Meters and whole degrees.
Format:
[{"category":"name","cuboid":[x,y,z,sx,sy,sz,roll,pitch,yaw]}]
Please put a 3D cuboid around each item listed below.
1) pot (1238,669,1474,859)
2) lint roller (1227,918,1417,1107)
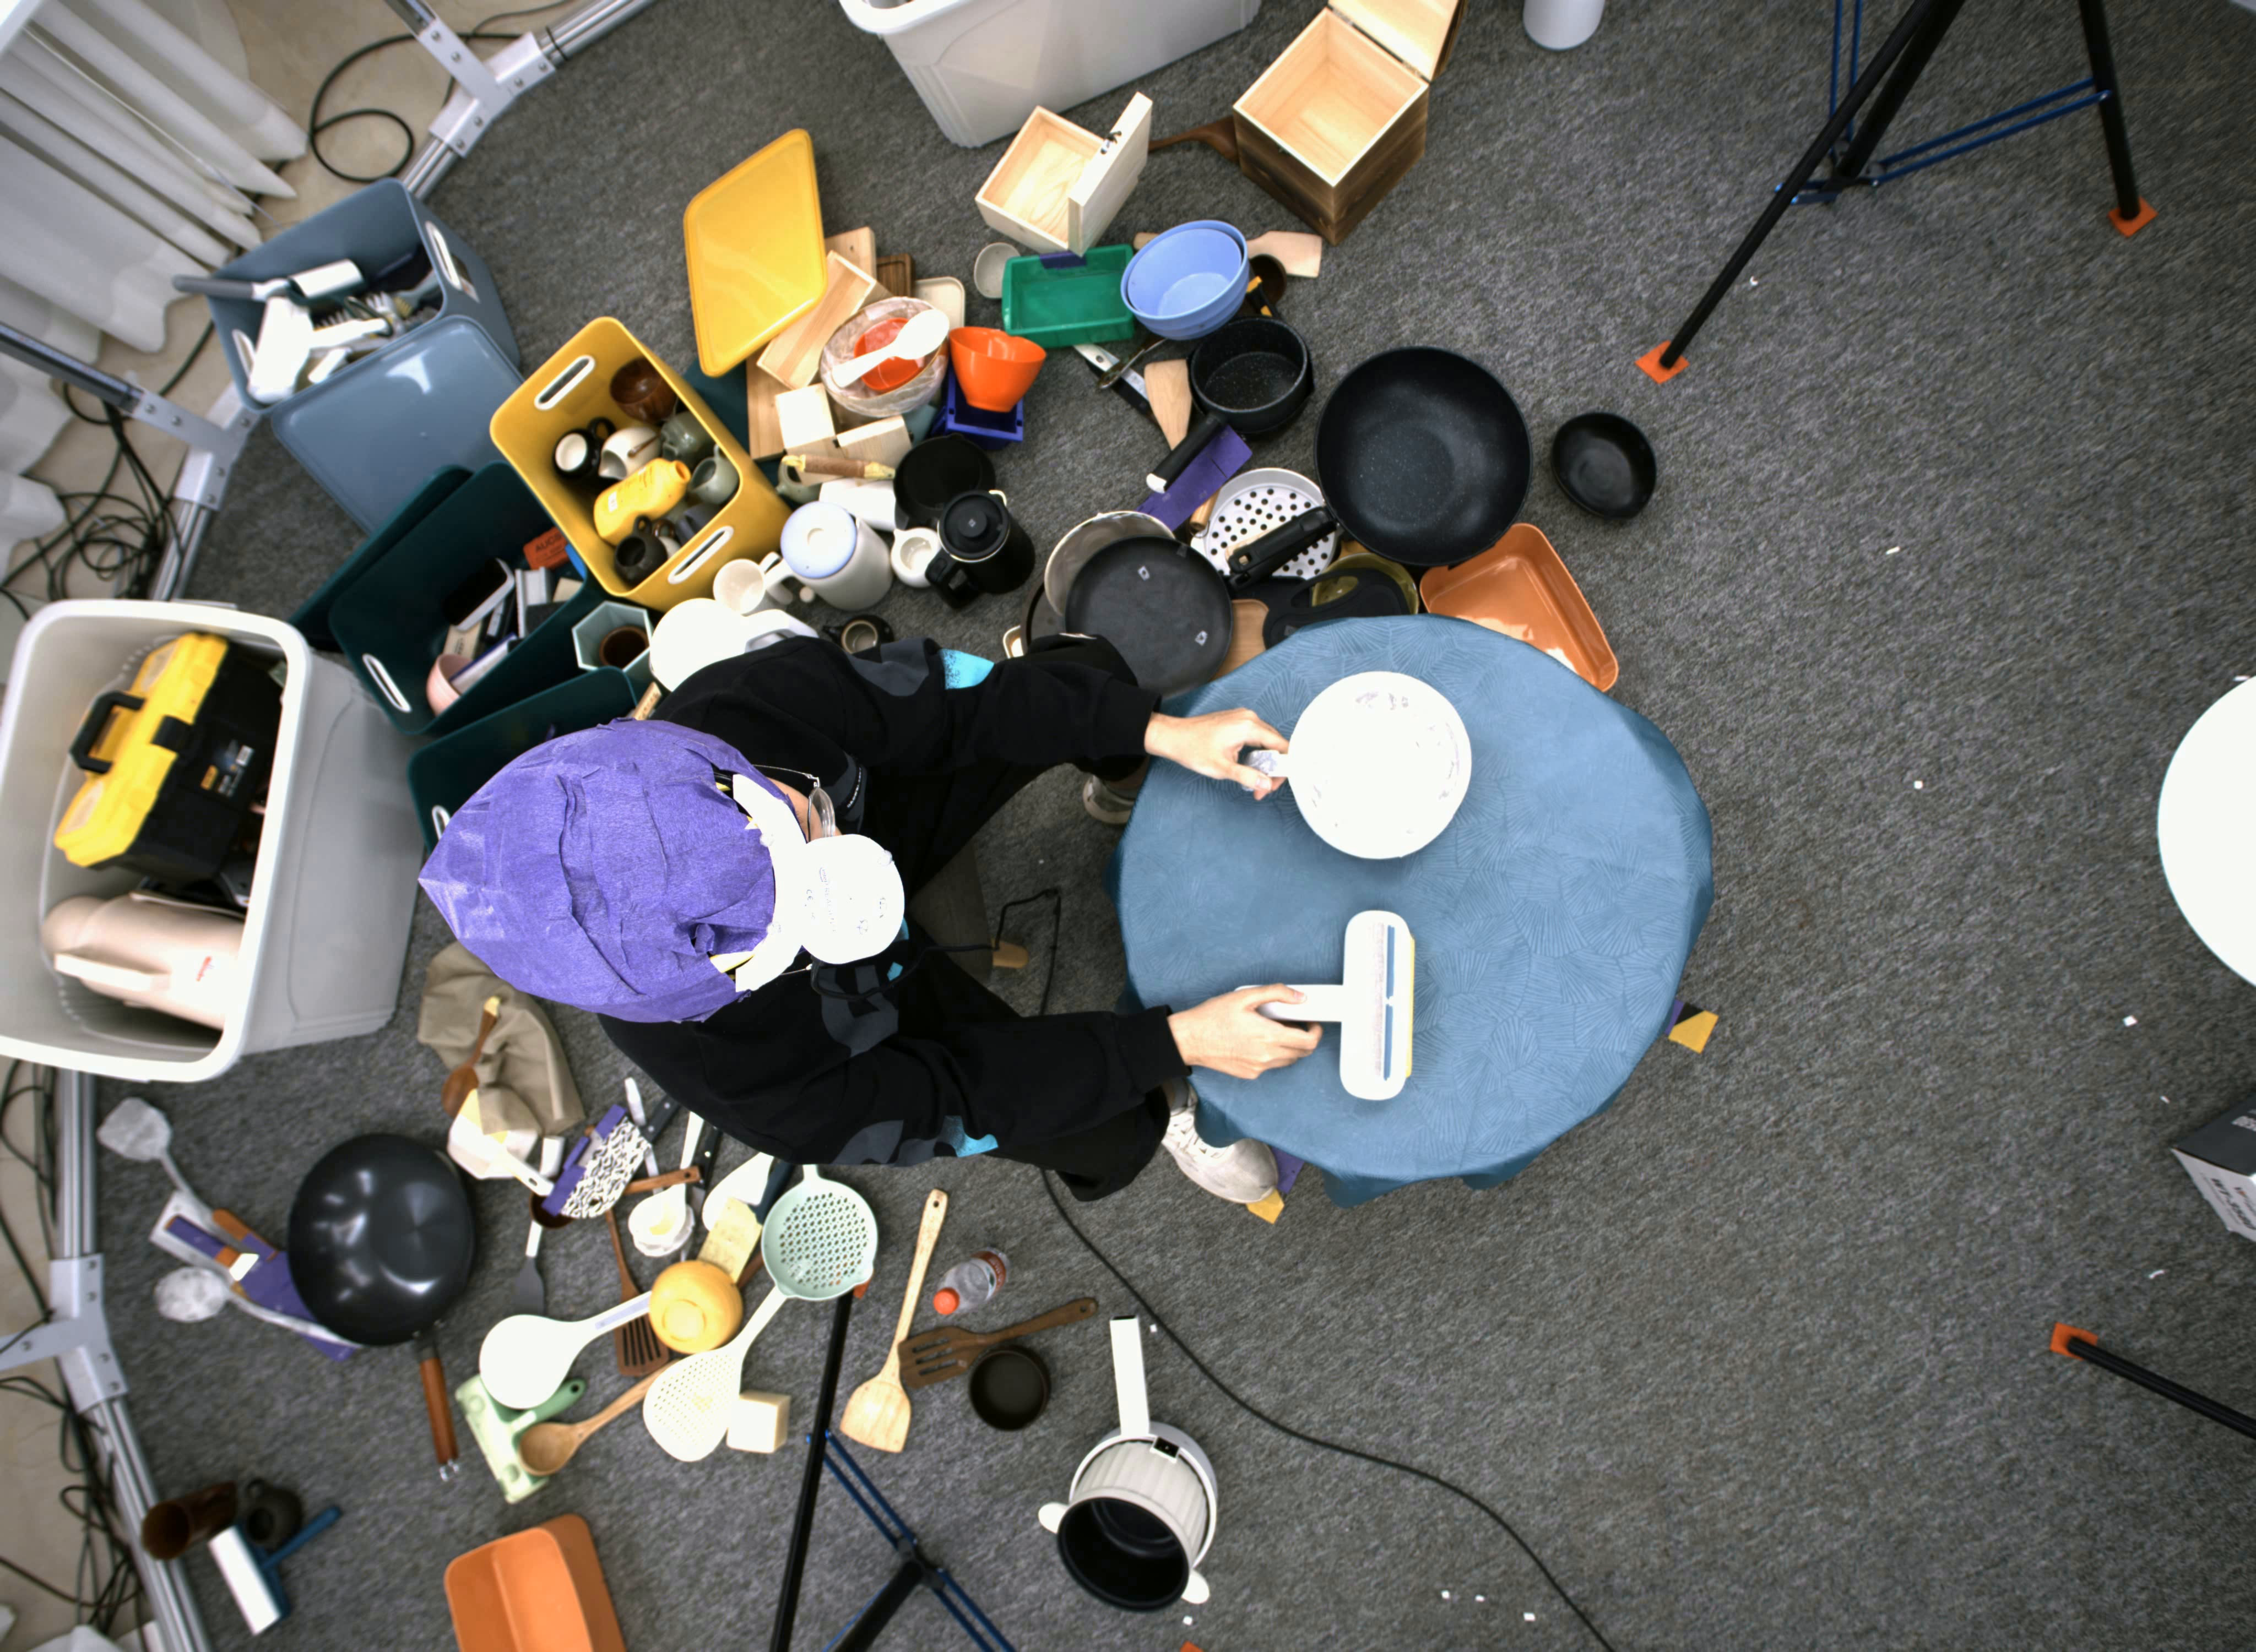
[{"category":"pot","cuboid":[0.226,-0.059,1.399,0.234,0.137,0.177,0,85,9]},{"category":"lint roller","cuboid":[0.195,0.185,1.429,0.193,0.074,0.191,5,80,12]}]
